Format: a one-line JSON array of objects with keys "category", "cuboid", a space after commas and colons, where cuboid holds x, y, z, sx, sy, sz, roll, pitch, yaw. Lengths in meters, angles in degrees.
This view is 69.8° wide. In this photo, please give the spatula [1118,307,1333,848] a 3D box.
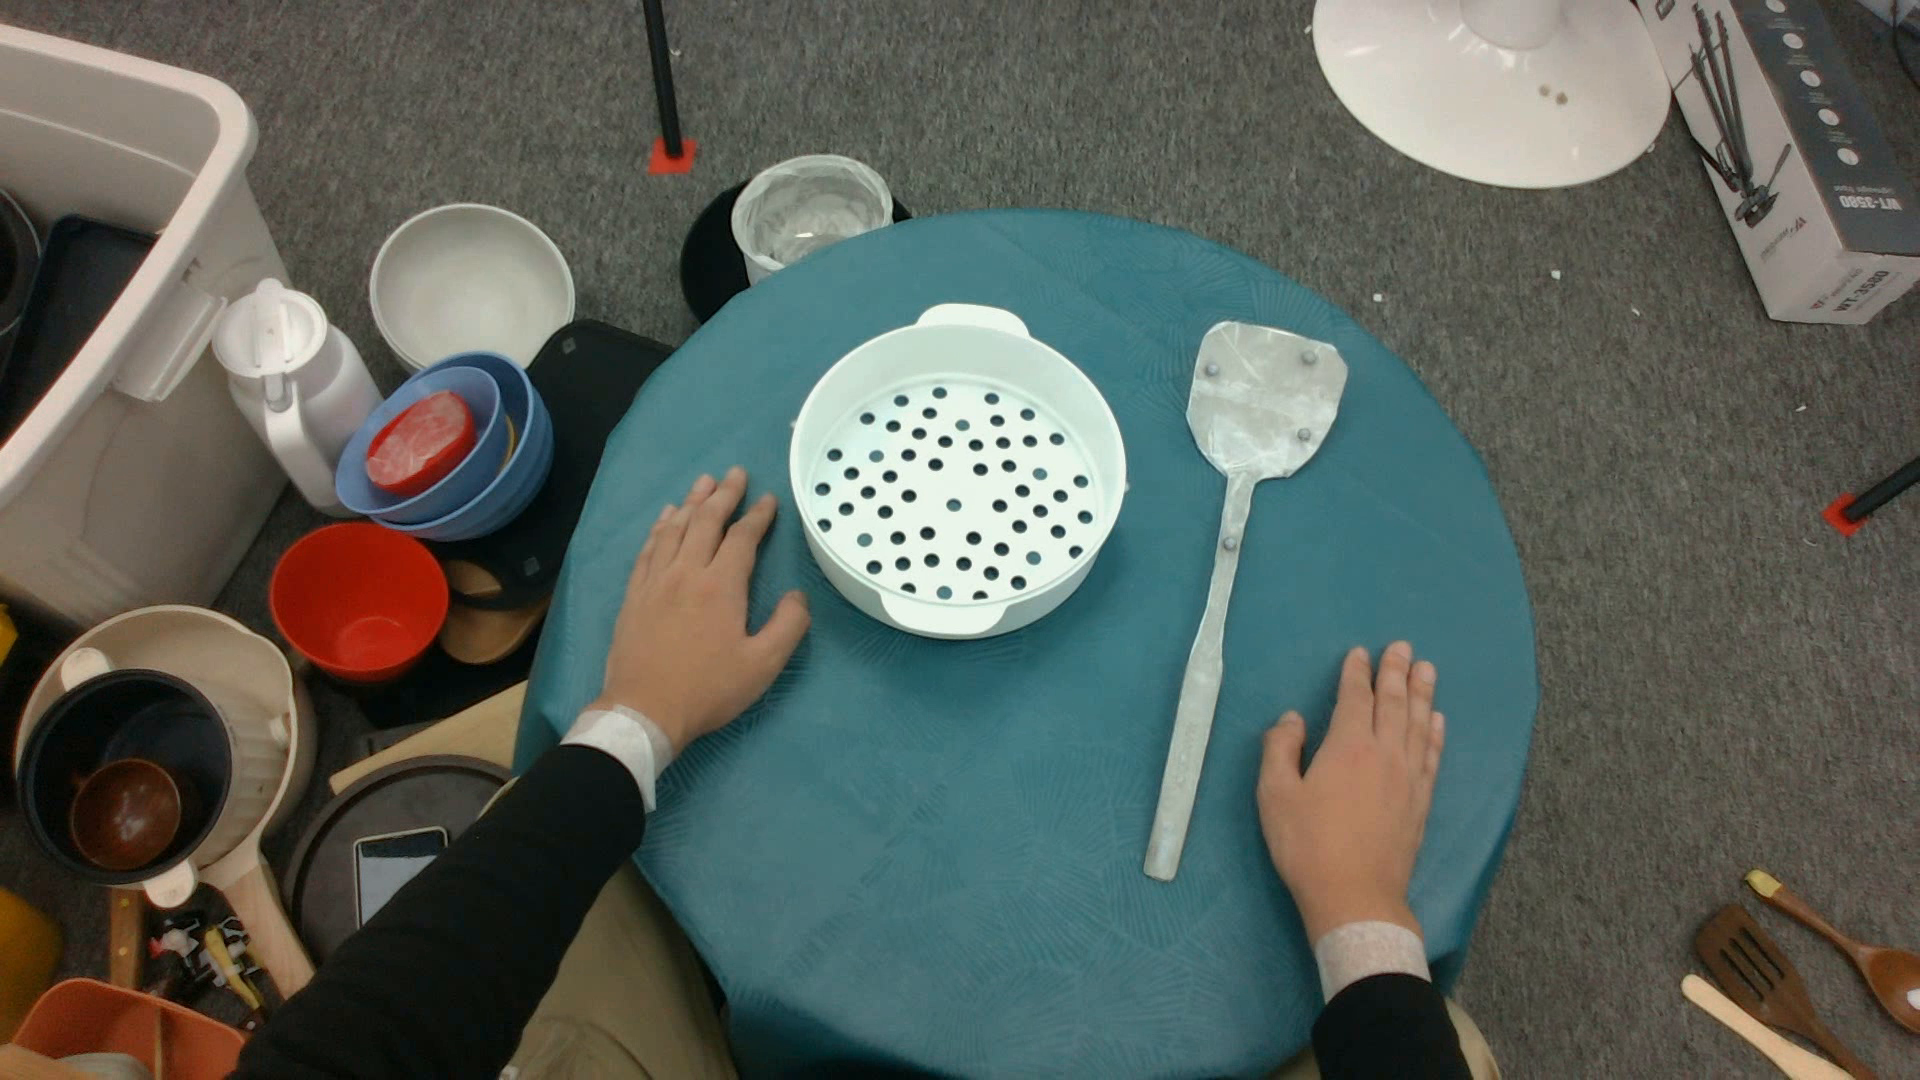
[{"category": "spatula", "cuboid": [0.152, 0.014, 0.845, 0.099, 0.044, 0.366, 17, 62, 2]}]

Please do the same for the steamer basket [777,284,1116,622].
[{"category": "steamer basket", "cuboid": [-0.009, -0.047, 0.846, 0.202, 0.069, 0.231, 6, 63, 0]}]
